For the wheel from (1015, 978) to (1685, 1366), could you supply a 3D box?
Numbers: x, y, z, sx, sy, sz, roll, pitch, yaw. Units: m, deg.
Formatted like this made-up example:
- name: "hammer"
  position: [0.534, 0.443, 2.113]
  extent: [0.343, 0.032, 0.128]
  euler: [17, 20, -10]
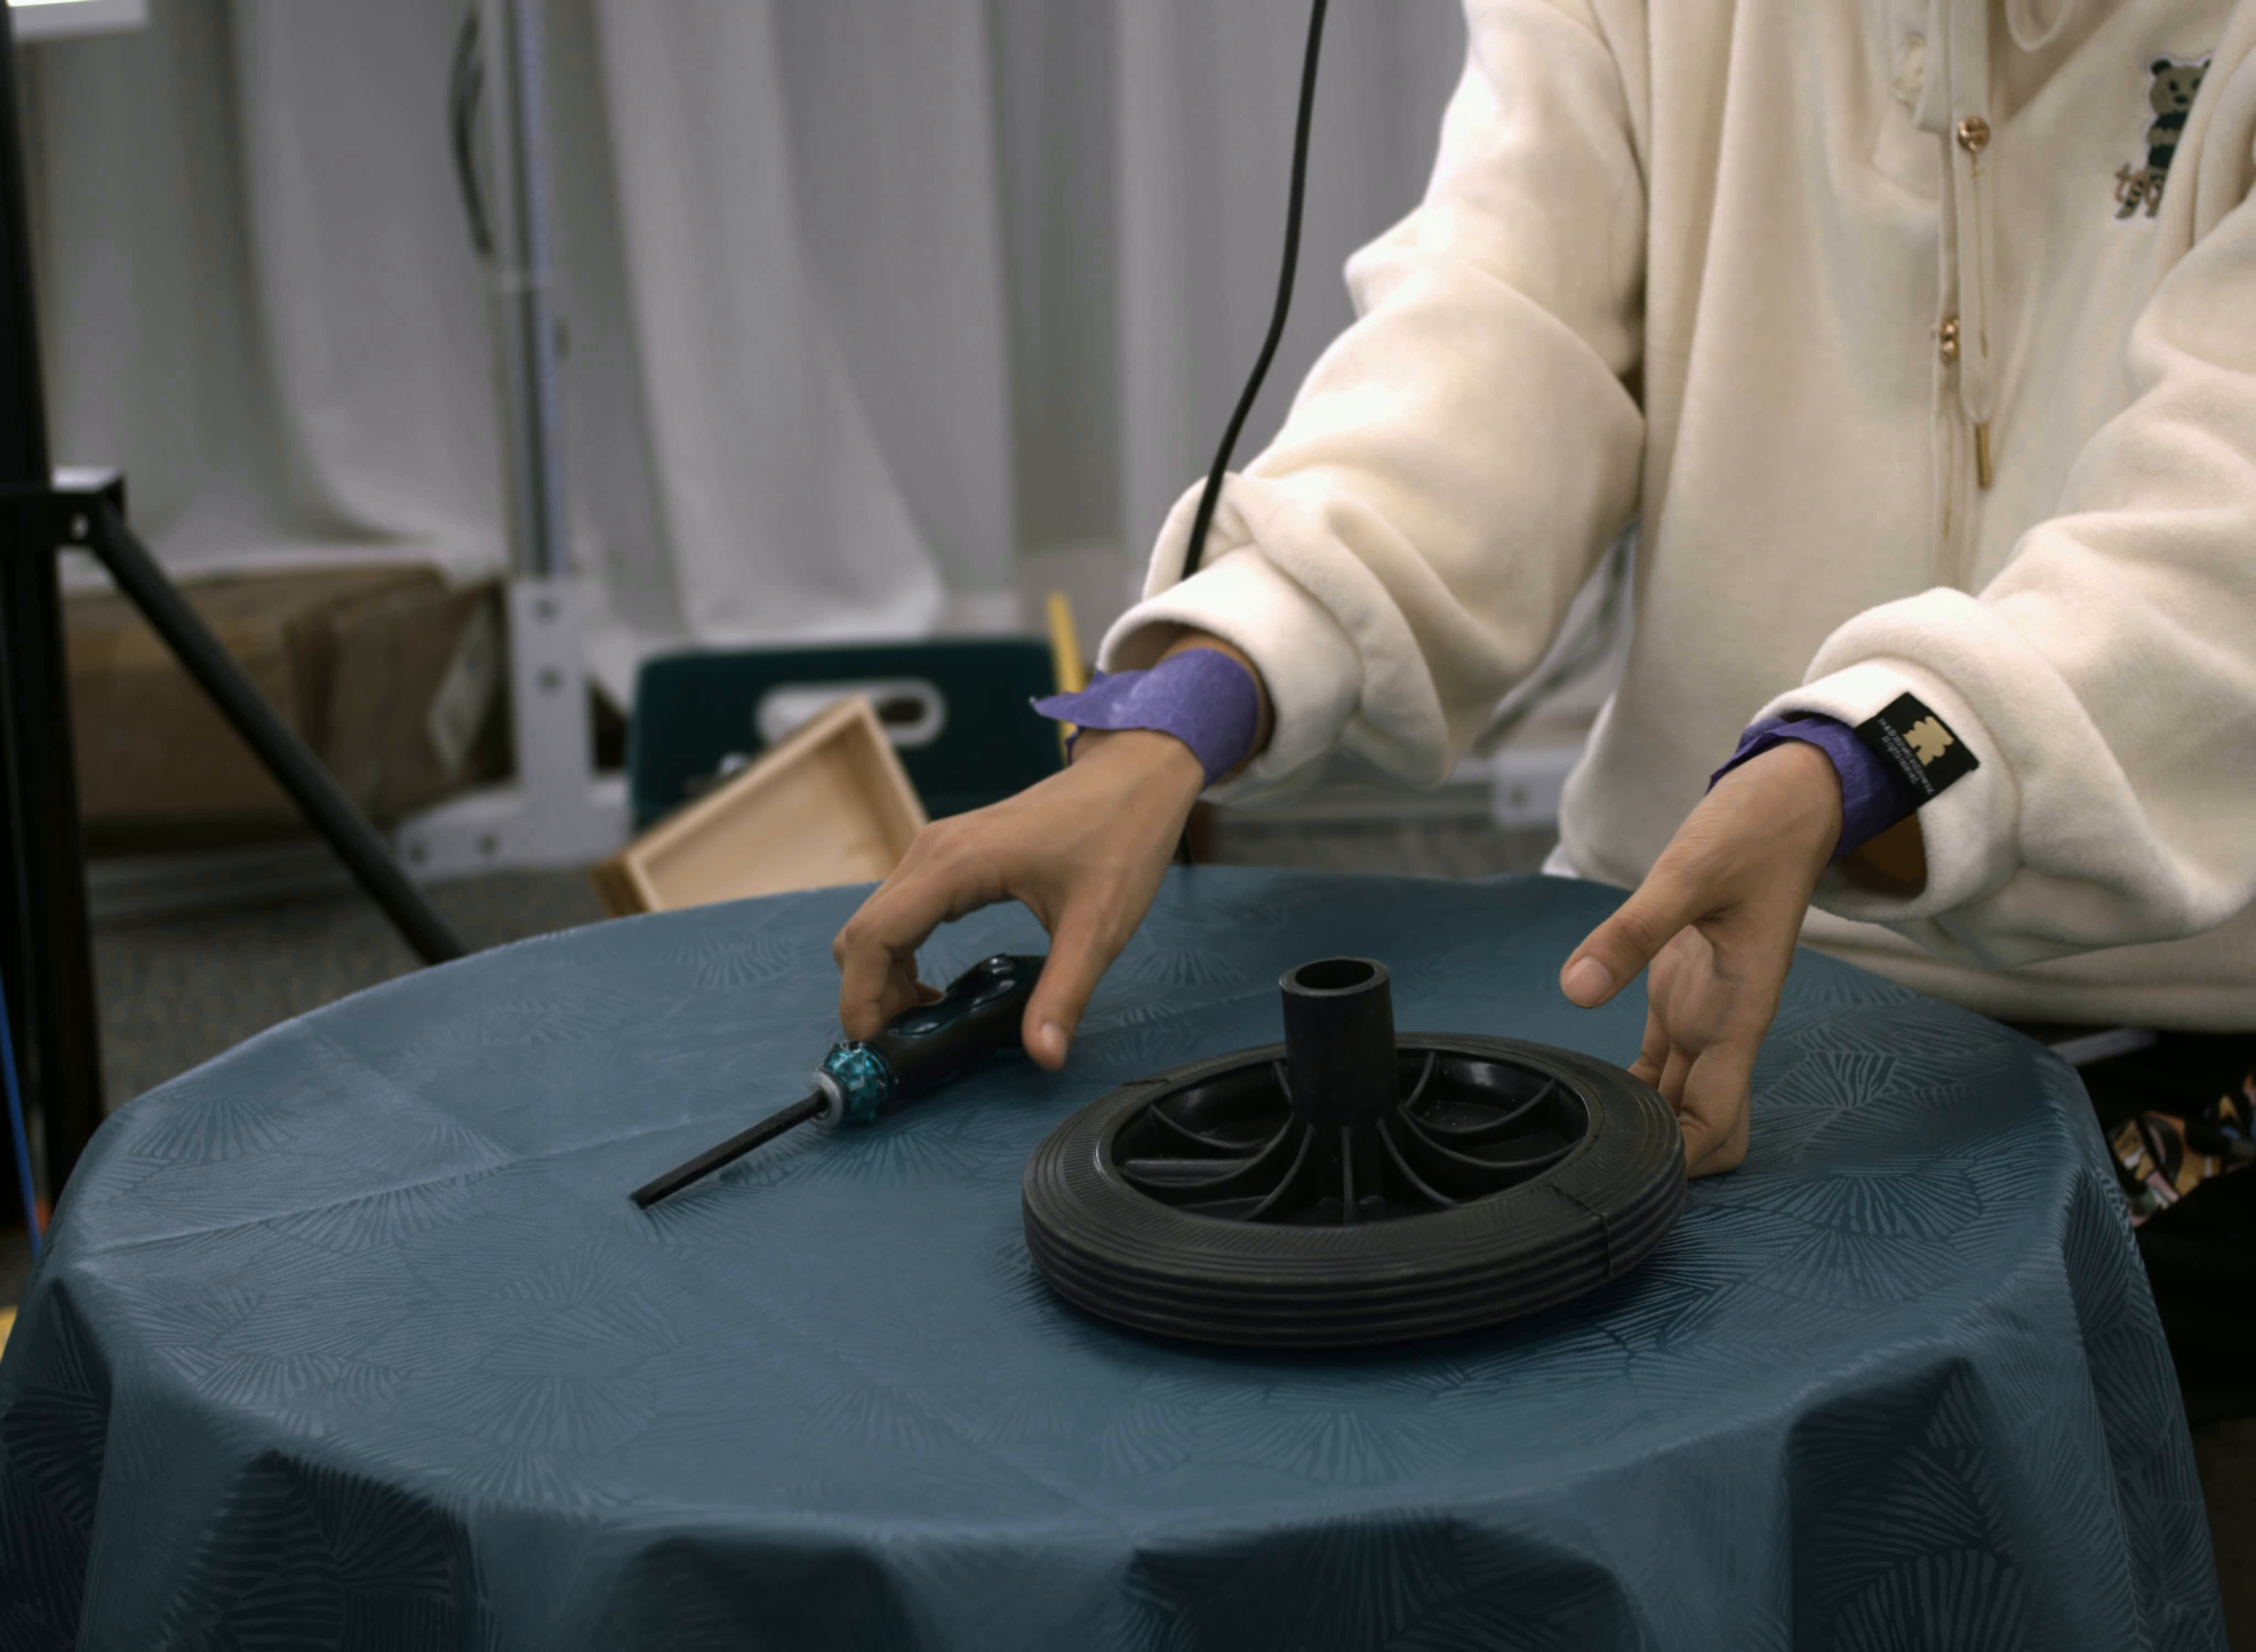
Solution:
- name: "wheel"
  position: [0.060, 0.085, 1.489]
  extent: [0.188, 0.079, 0.189]
  euler: [-10, 18, -6]

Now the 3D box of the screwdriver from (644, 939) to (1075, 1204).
- name: "screwdriver"
  position: [-0.083, 0.079, 1.631]
  extent: [0.034, 0.033, 0.186]
  euler: [11, 27, 38]
